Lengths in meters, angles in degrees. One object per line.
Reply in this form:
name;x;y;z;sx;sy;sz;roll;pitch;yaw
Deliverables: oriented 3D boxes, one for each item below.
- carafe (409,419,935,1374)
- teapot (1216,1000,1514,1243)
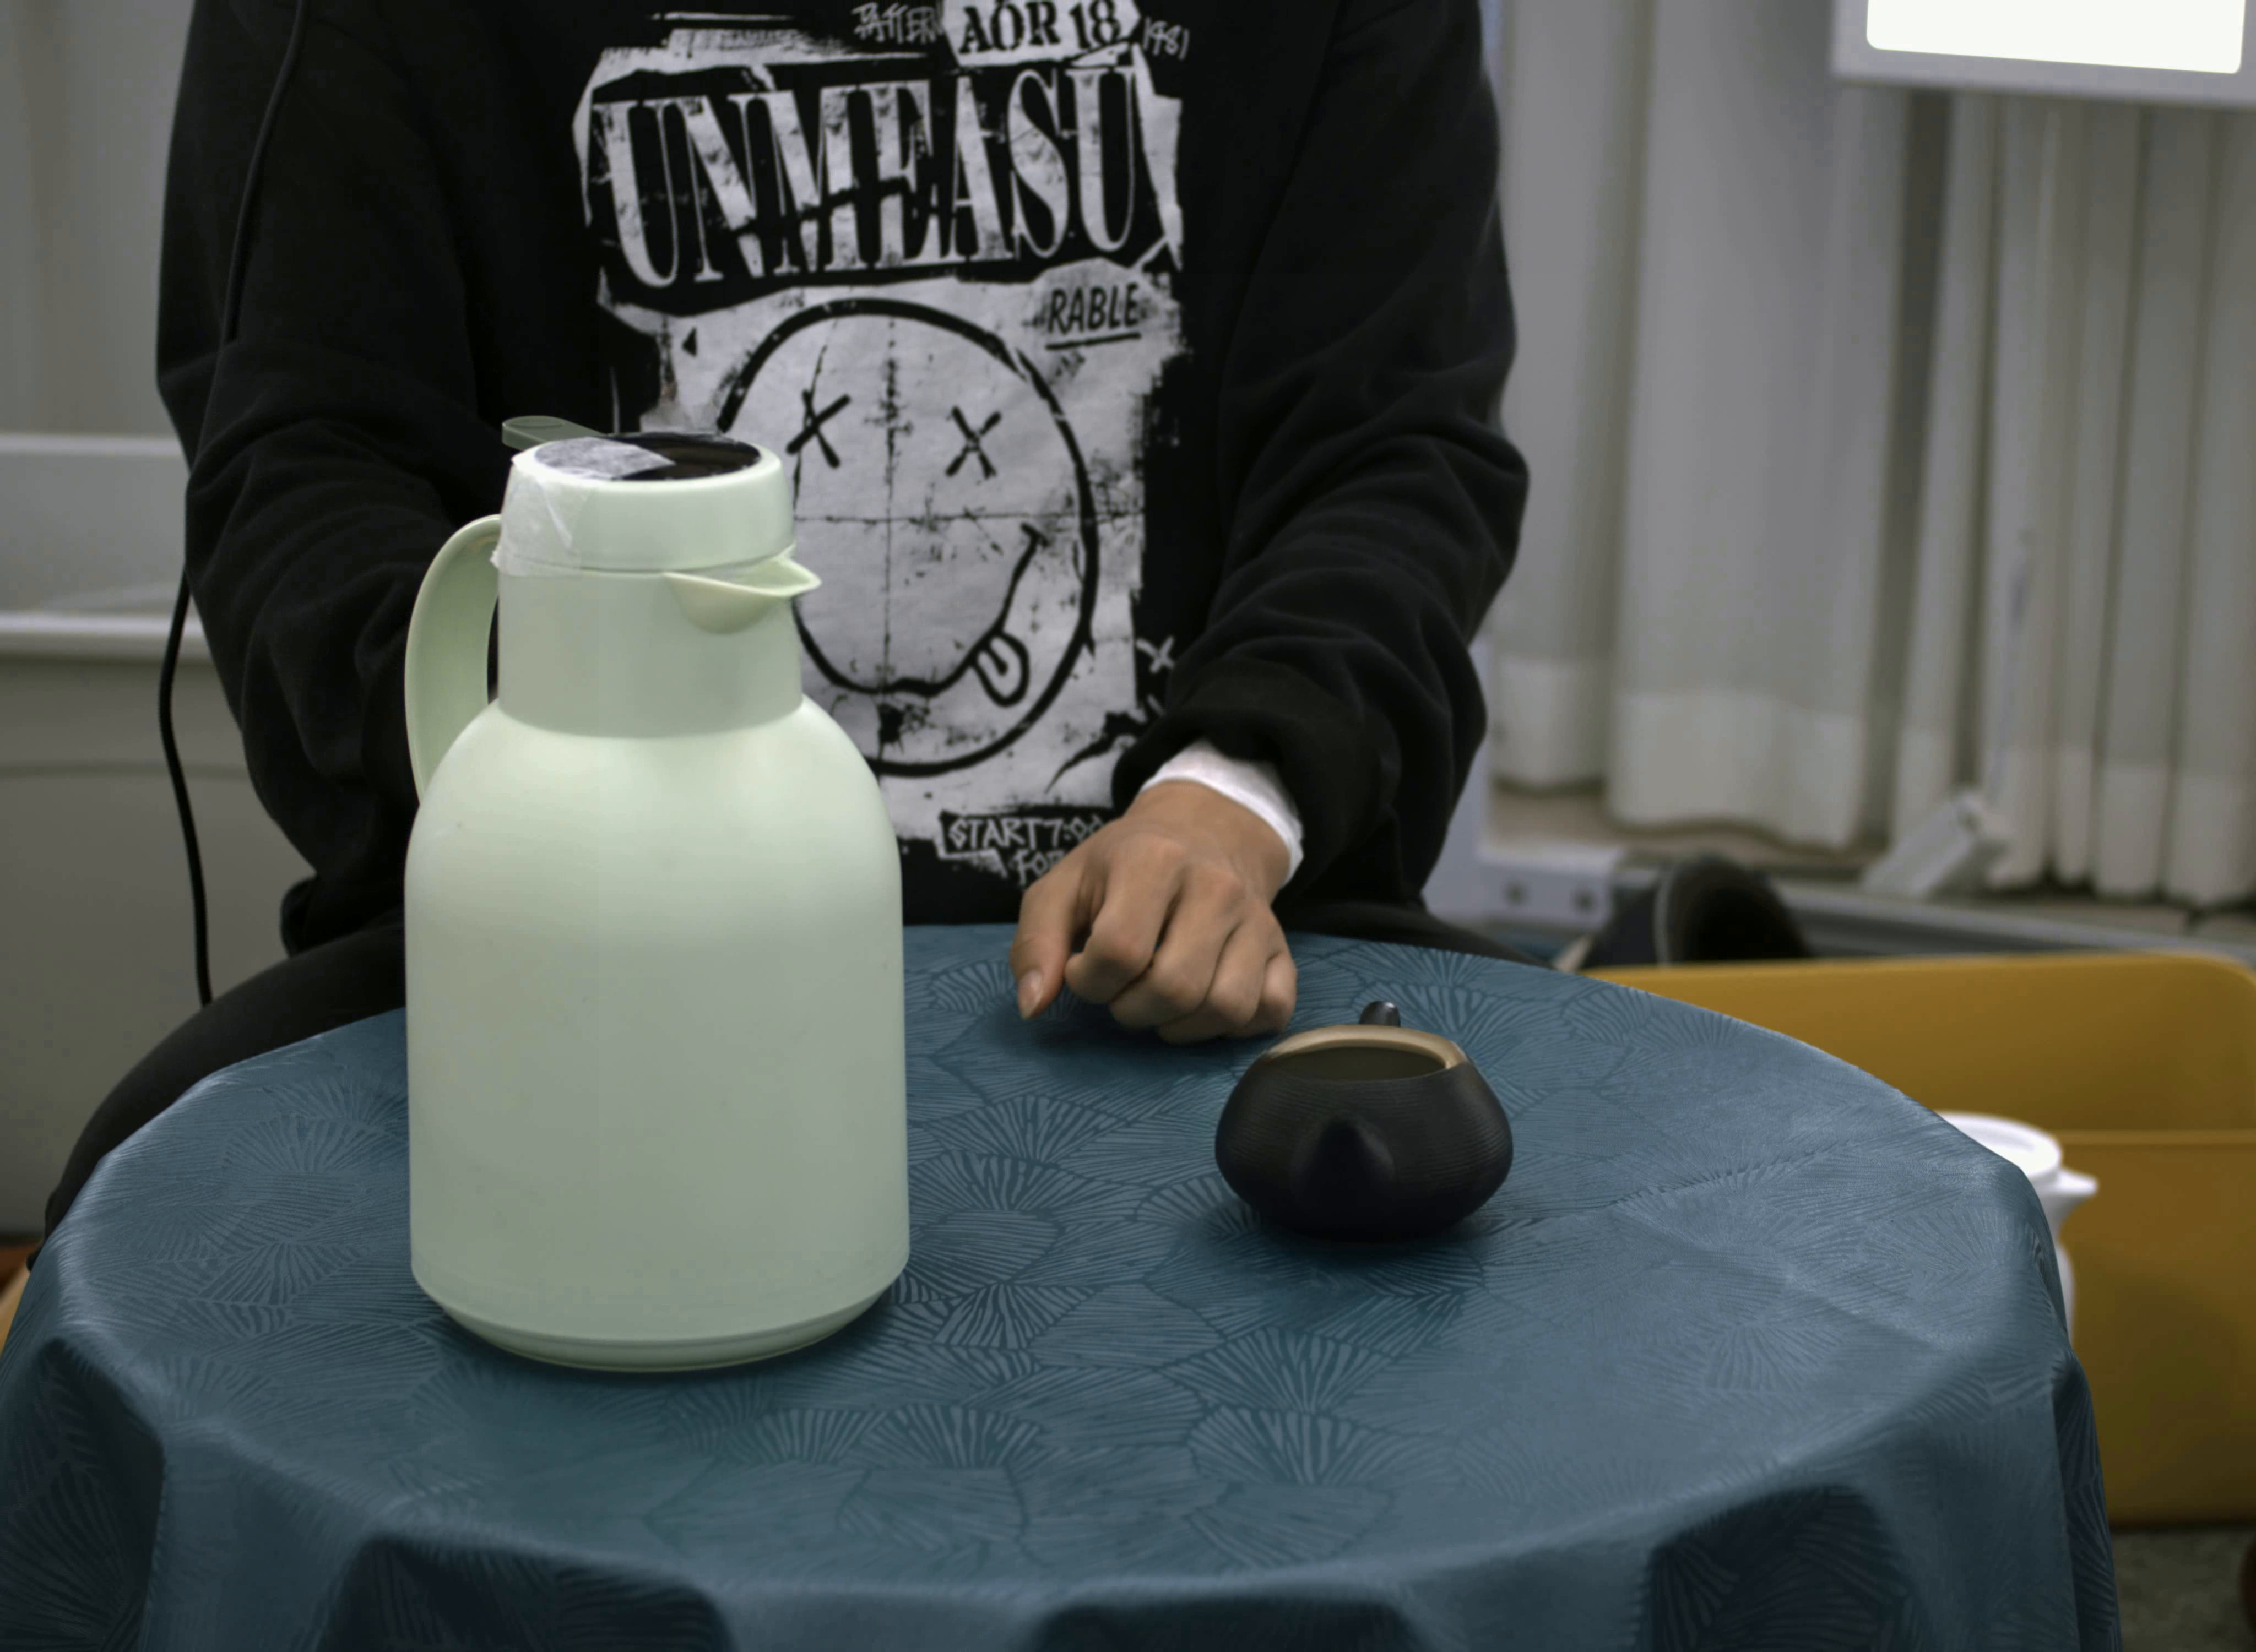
carafe;-0.141;0.014;1.505;0.145;0.259;0.184;-16;19;-37
teapot;0.072;0.093;1.595;0.090;0.053;0.133;4;16;8
